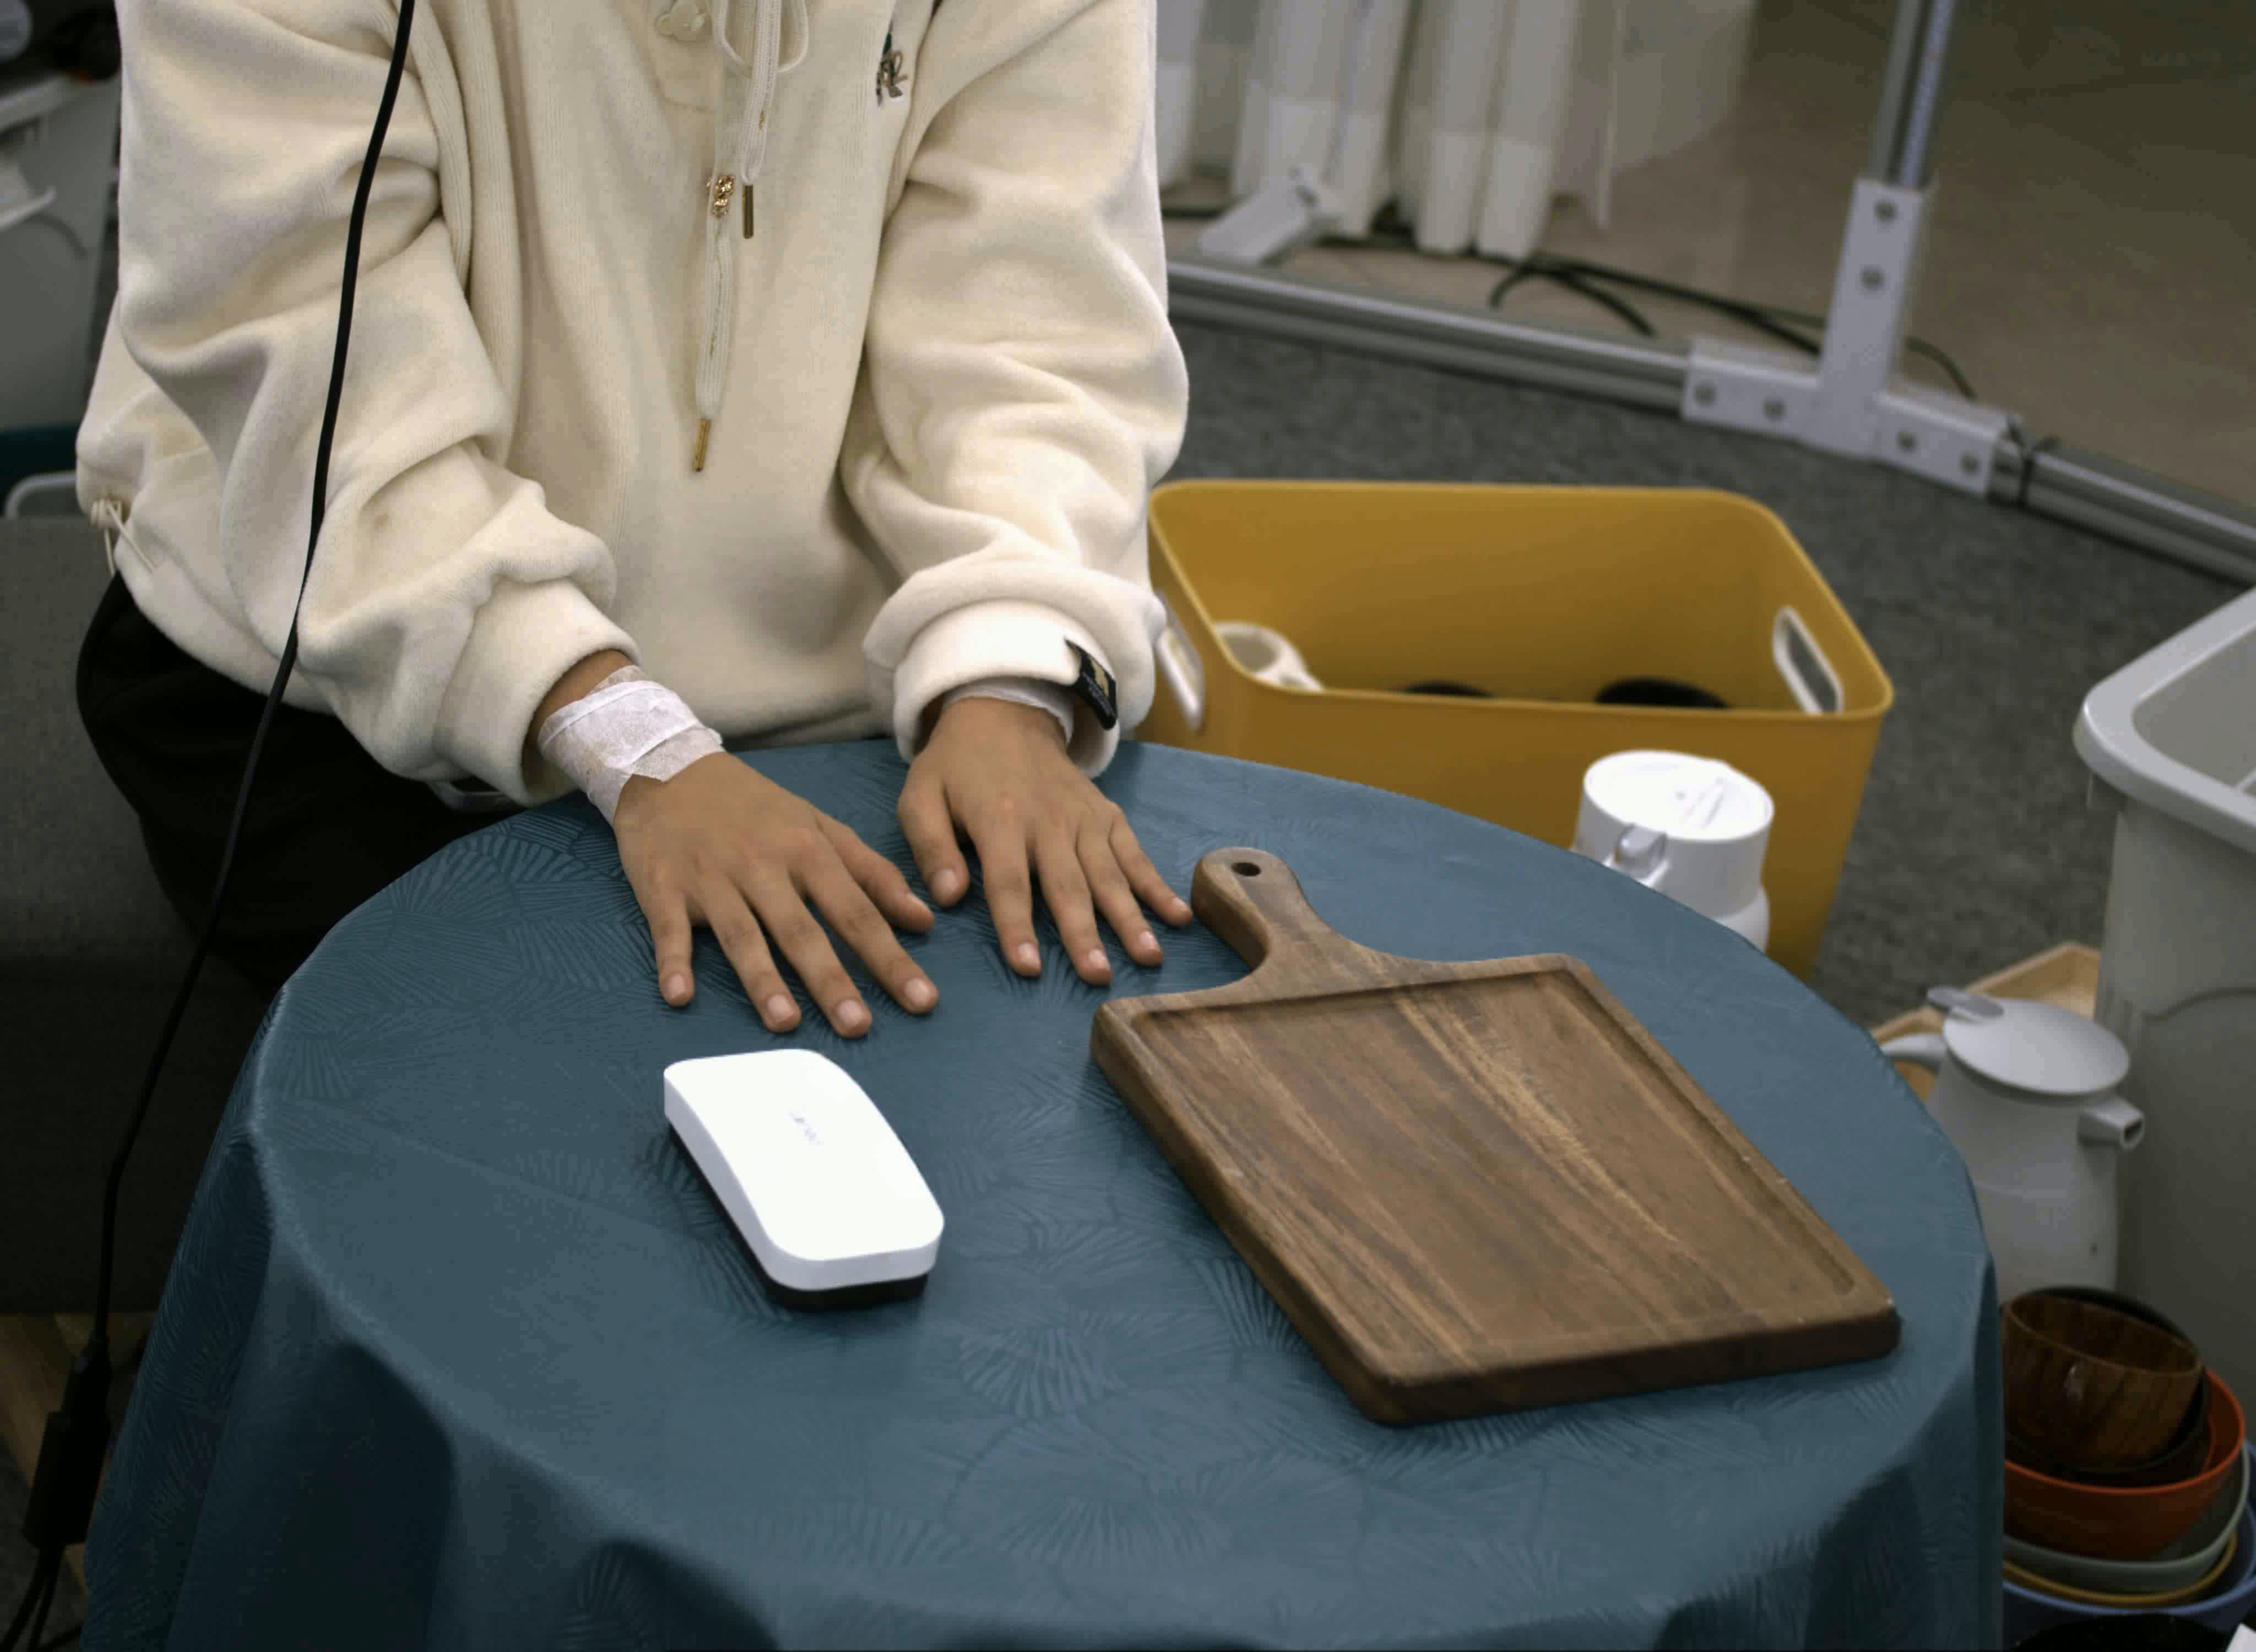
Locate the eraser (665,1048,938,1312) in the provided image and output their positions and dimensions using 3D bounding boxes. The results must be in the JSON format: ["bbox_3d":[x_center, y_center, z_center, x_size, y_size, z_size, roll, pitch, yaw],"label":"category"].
[{"bbox_3d":[-0.109,0.113,1.764,0.063,0.034,0.132,-5,30,-21],"label":"eraser"}]

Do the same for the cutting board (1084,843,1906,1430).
[{"bbox_3d":[0.102,0.096,1.856,0.200,0.023,0.355,-5,29,-23],"label":"cutting board"}]
